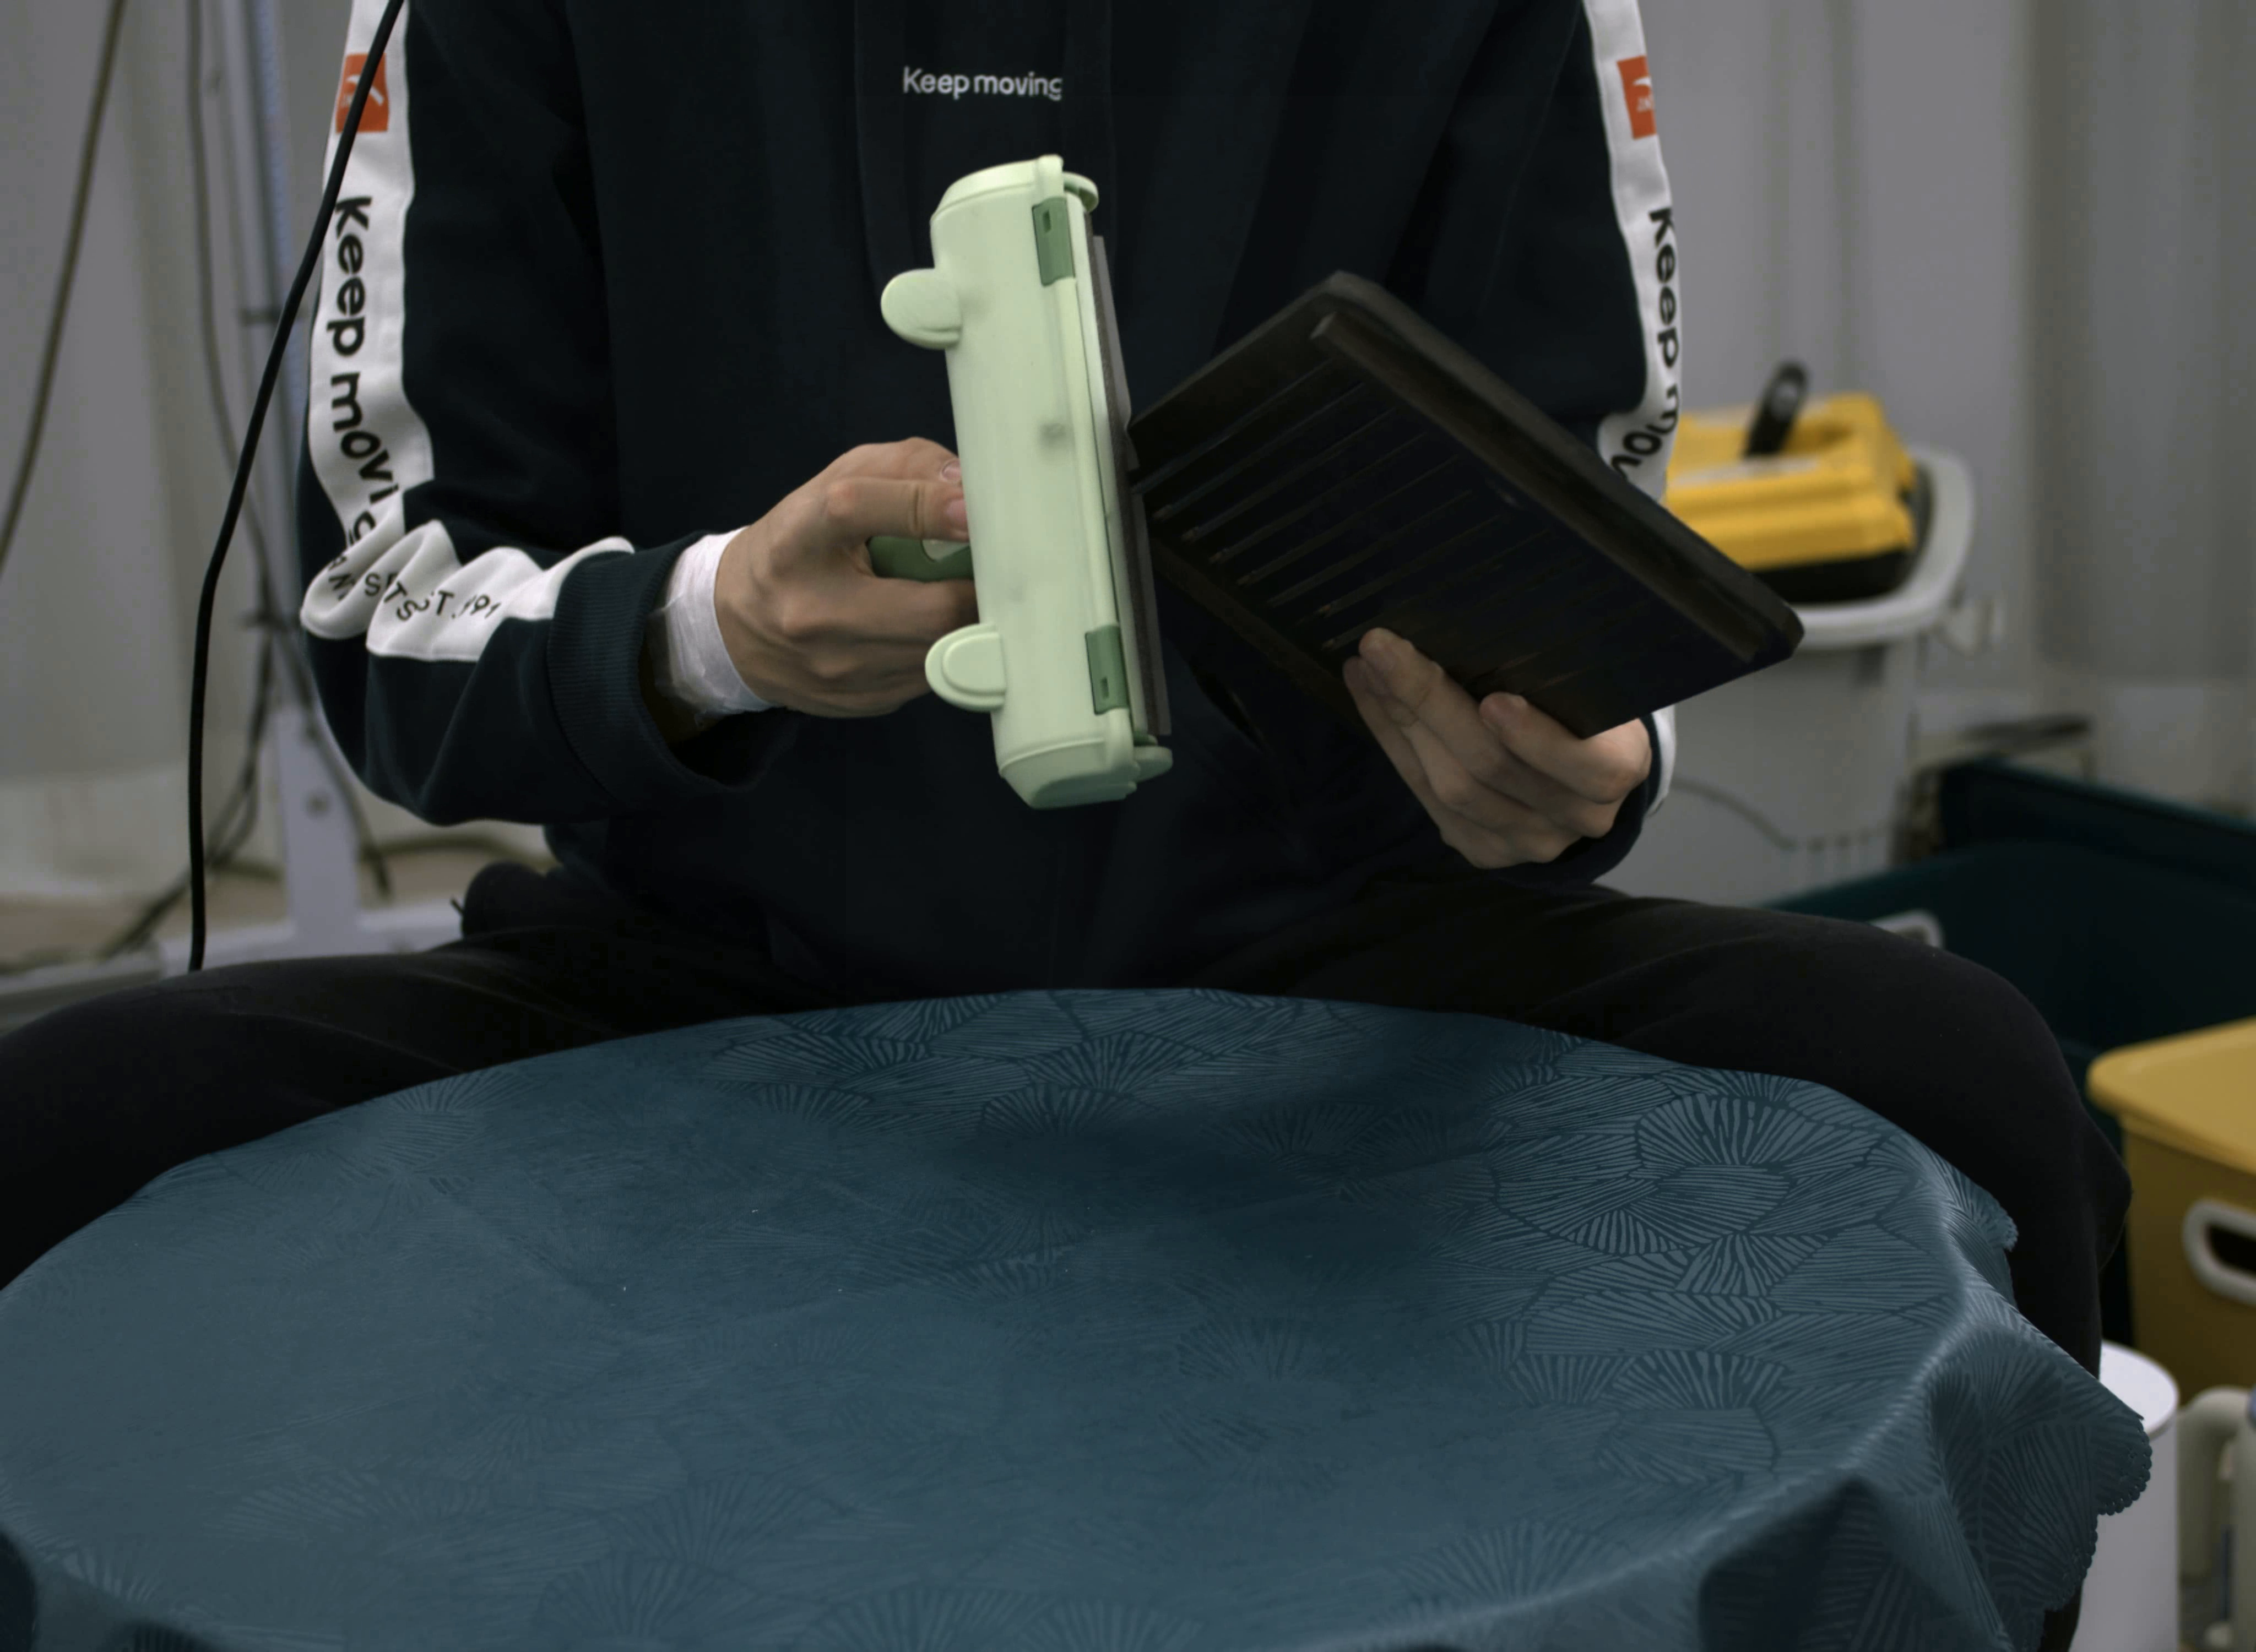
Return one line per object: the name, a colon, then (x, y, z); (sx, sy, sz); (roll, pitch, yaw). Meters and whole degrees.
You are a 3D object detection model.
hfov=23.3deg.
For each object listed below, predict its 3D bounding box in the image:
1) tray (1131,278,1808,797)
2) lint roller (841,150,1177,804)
tray: (0.082, -0.078, 1.658); (0.169, 0.019, 0.305); (38, -16, -8)
lint roller: (-0.061, -0.094, 1.729); (0.081, 0.200, 0.183); (2, -15, -36)
